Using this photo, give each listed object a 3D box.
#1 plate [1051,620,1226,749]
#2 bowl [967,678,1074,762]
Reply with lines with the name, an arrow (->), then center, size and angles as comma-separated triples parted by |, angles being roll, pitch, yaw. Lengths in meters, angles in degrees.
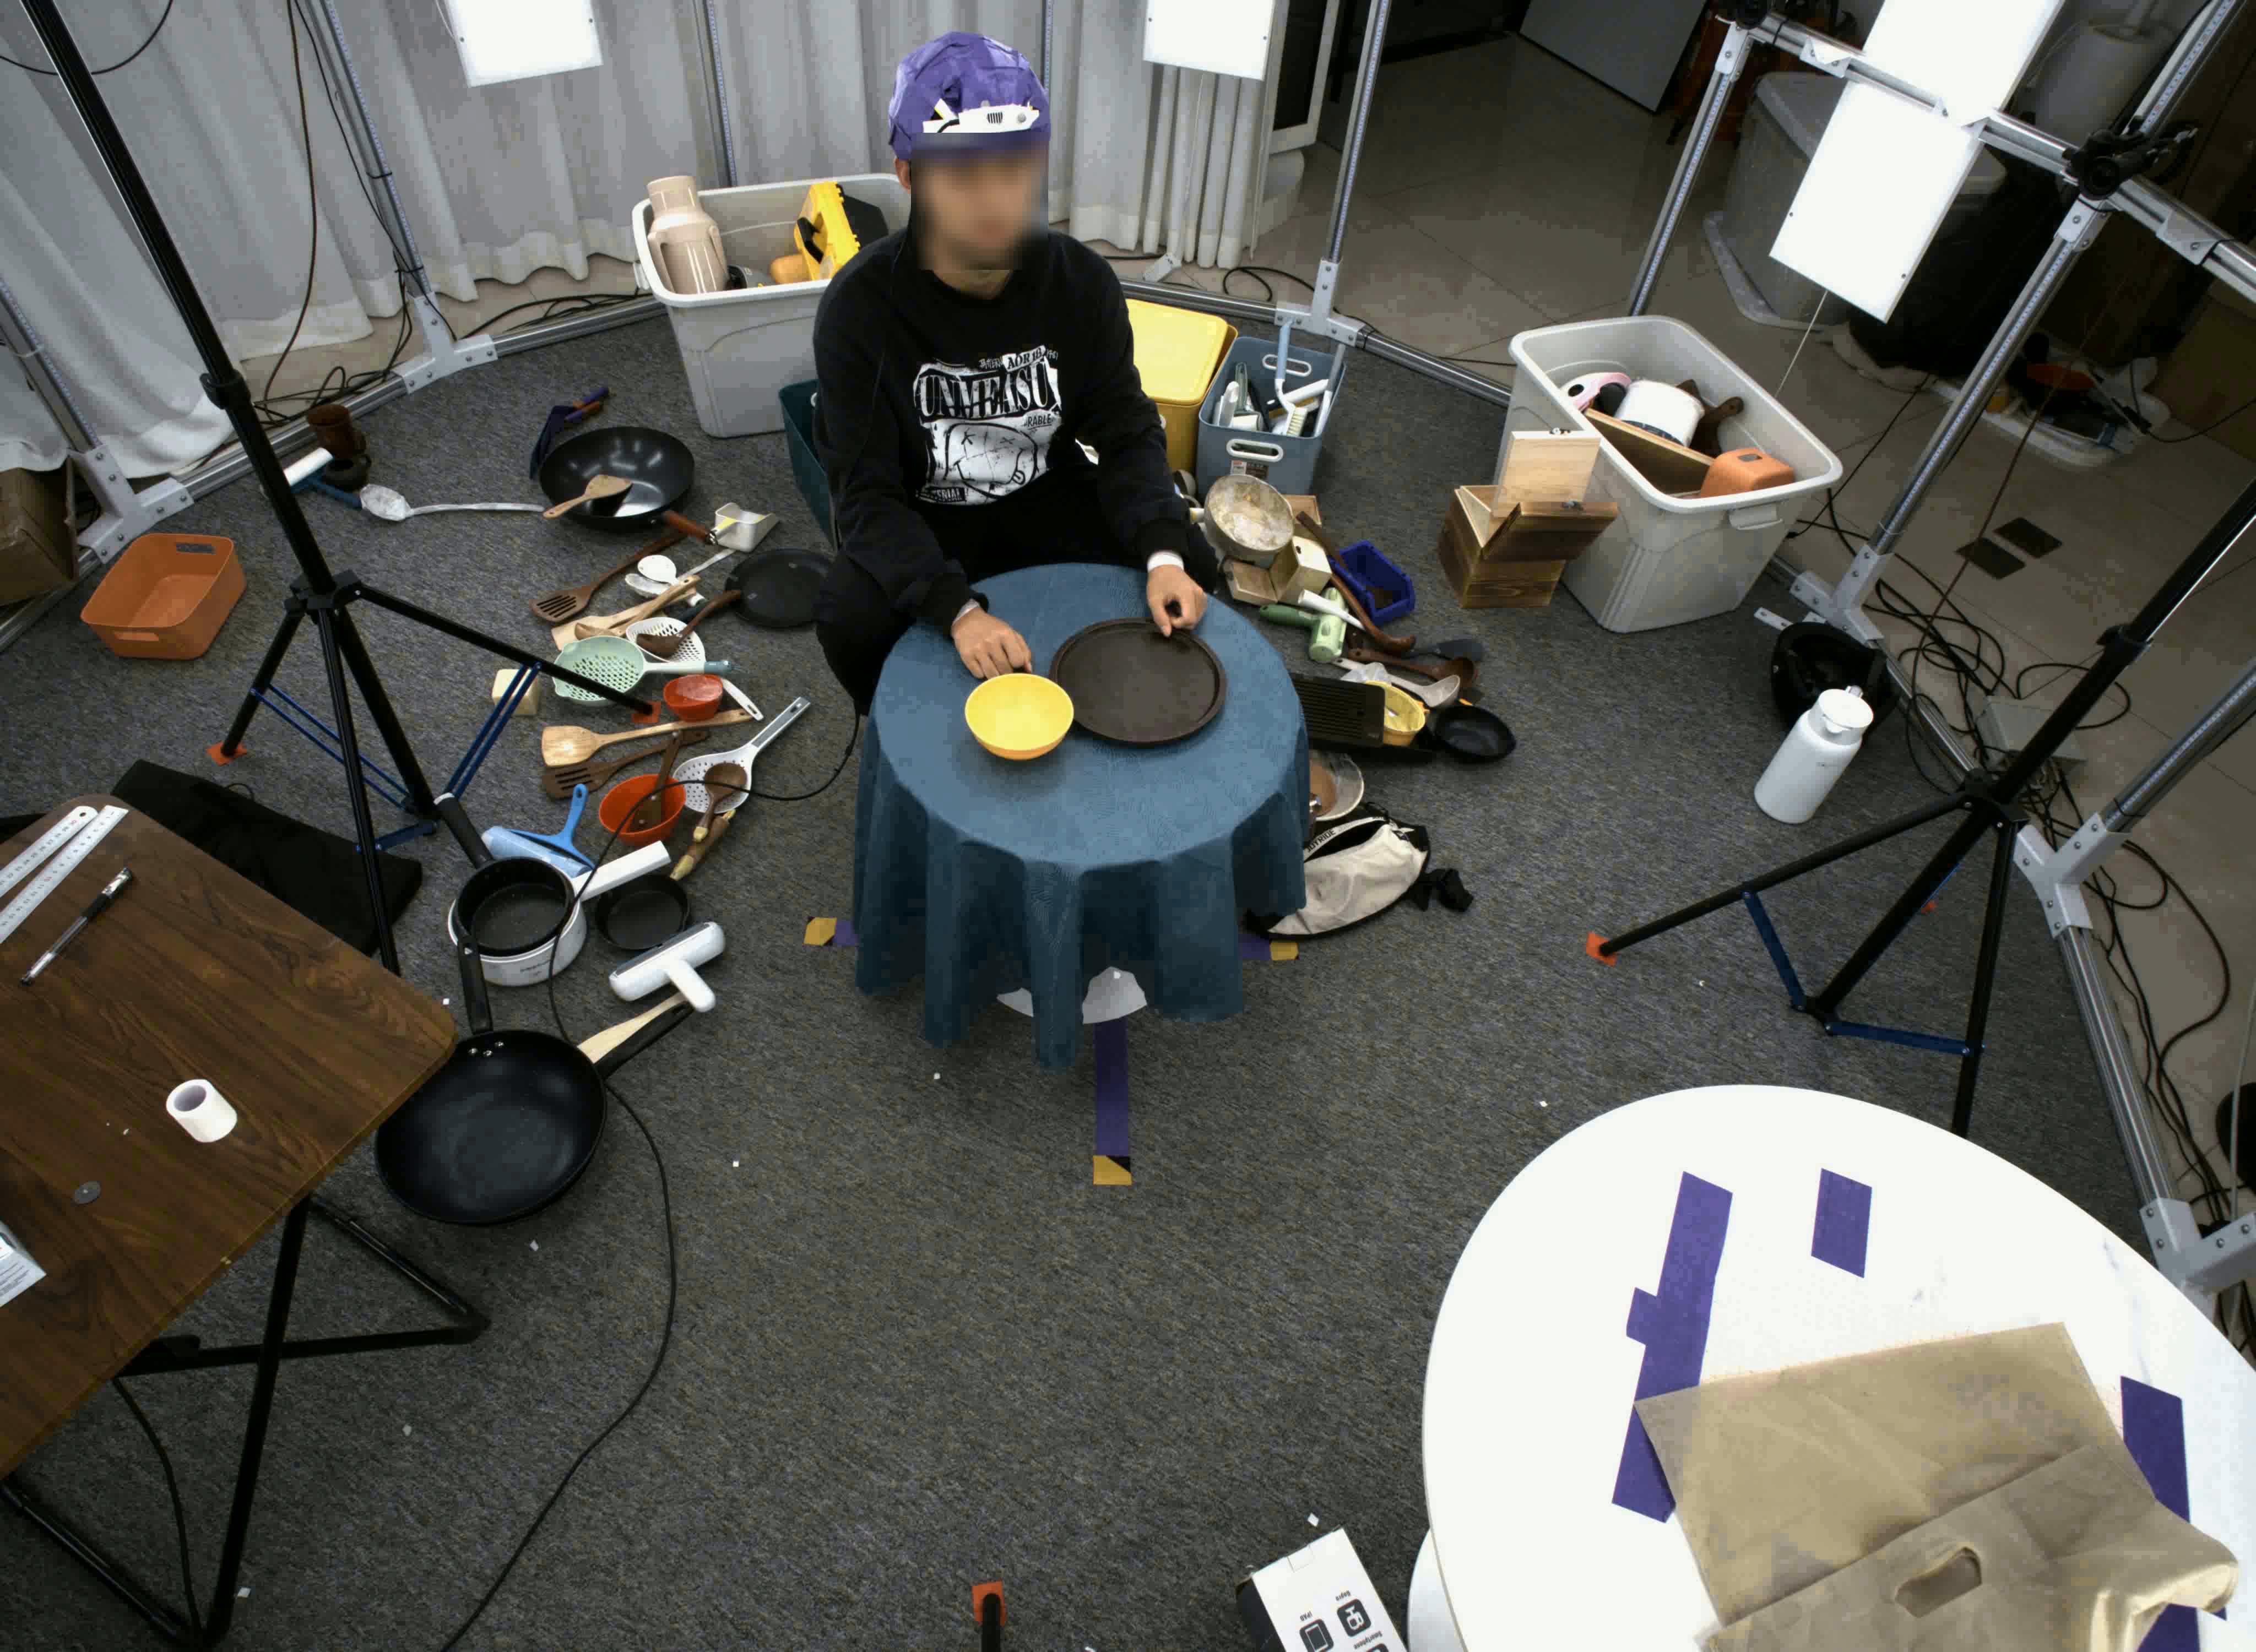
plate -> 0.016, -0.205, 1.850 | 0.254, 0.028, 0.261 | 1, 49, -1
bowl -> -0.147, -0.133, 1.755 | 0.145, 0.058, 0.149 | 2, 46, -3
